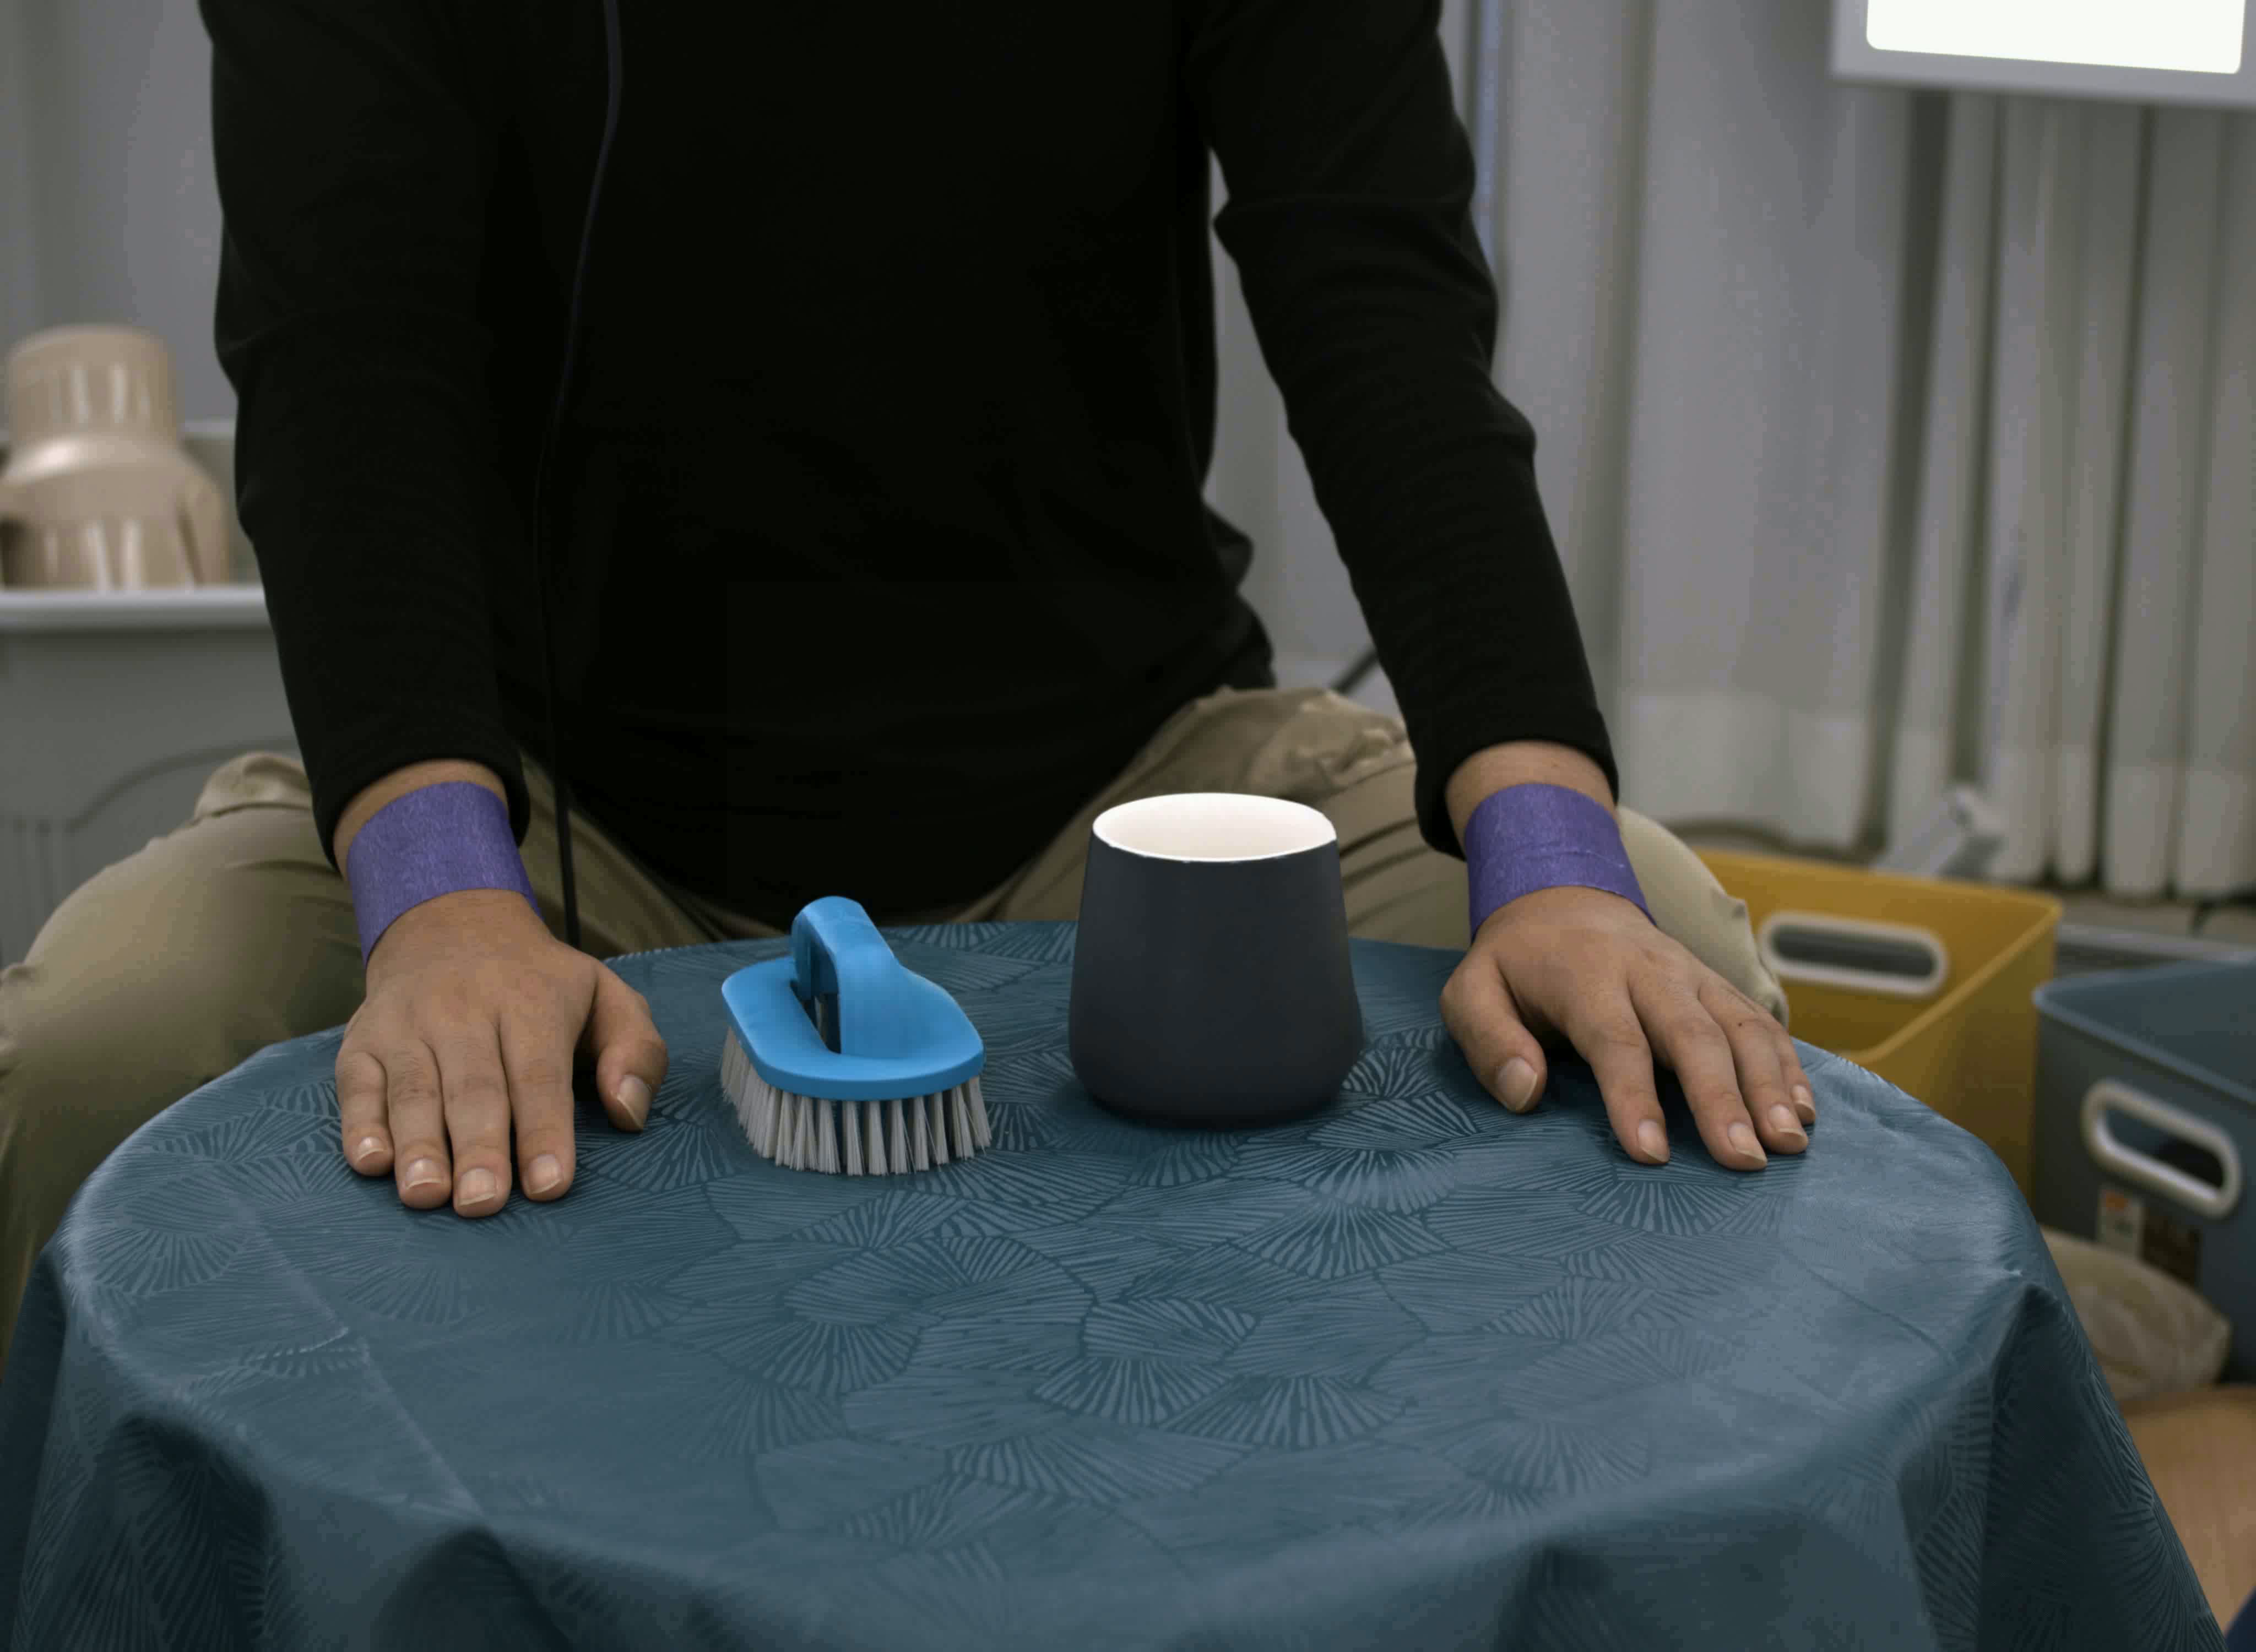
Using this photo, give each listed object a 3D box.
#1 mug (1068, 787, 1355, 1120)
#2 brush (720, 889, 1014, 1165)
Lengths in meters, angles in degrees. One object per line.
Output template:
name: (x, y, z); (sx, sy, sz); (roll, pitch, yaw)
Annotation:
mug: (0.026, 0.037, 1.717); (0.093, 0.090, 0.122); (-1, 18, -7)
brush: (-0.087, 0.058, 1.690); (0.084, 0.064, 0.140); (-8, 16, -11)
